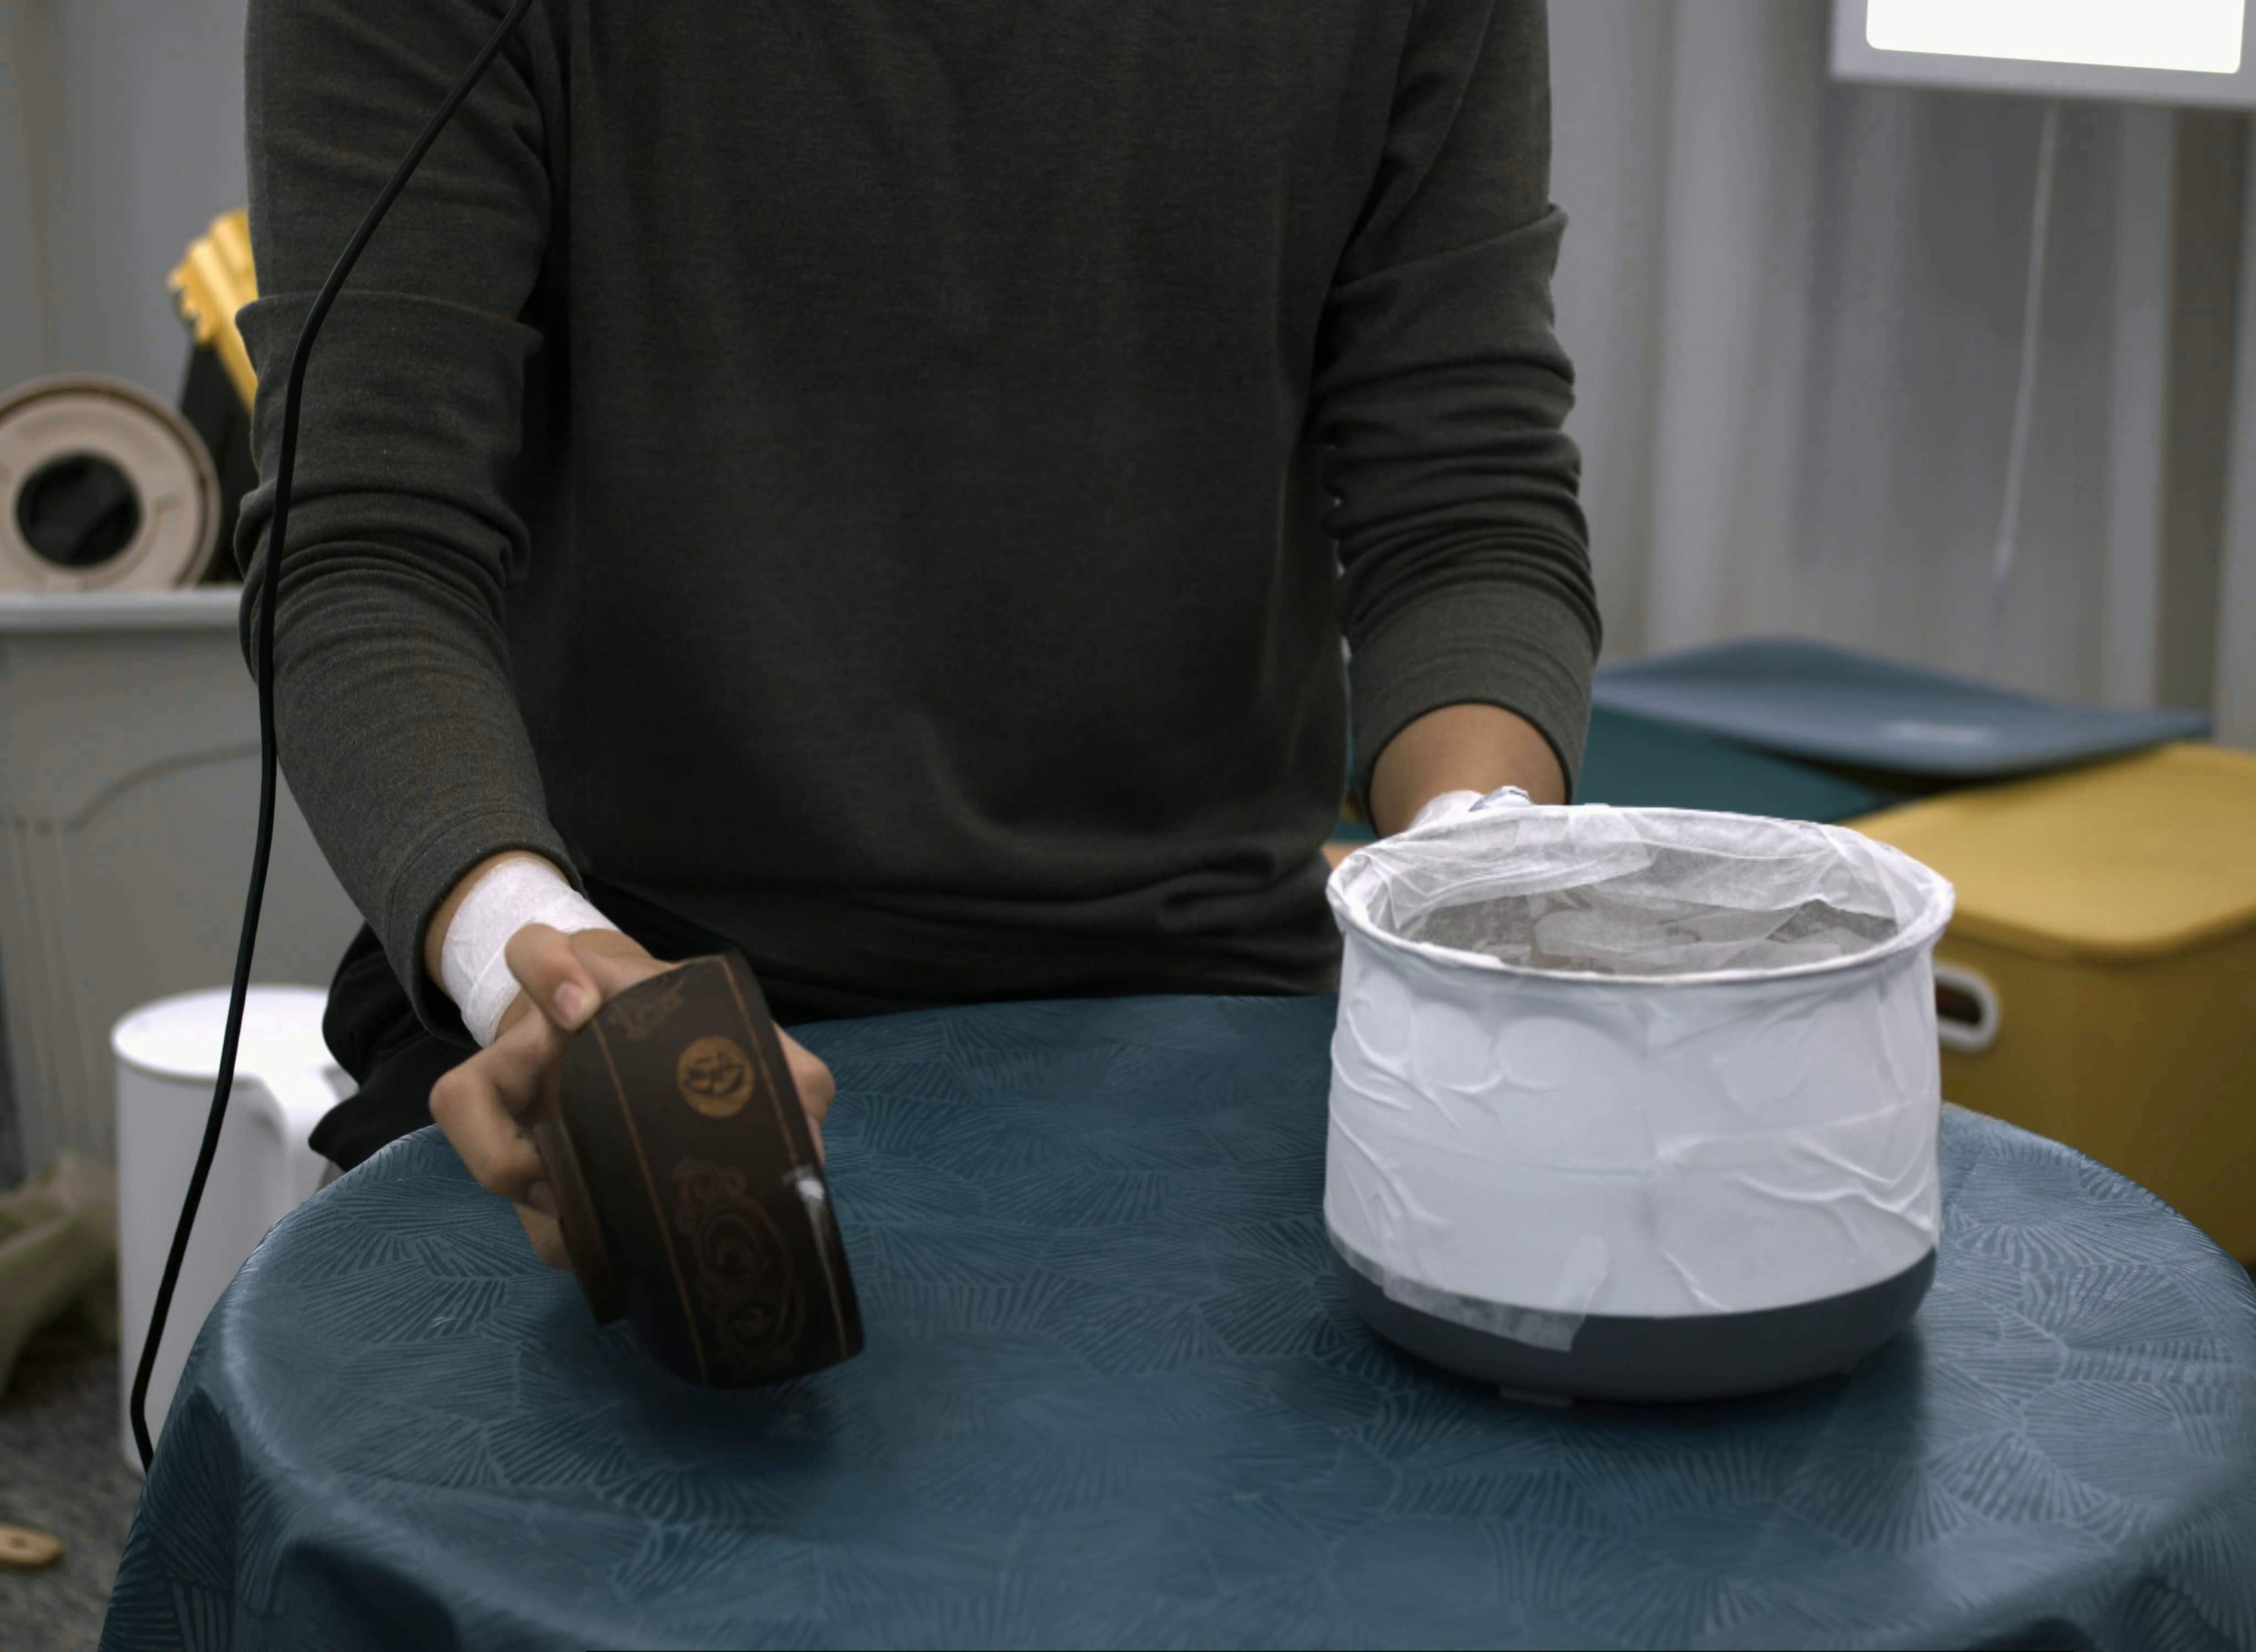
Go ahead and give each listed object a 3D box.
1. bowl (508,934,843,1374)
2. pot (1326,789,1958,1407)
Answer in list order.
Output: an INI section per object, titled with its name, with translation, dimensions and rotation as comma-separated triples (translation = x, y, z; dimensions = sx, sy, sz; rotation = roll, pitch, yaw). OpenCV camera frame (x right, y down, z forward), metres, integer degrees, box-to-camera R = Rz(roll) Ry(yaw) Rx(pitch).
[bowl]
translation = -0.128, 0.094, 1.436
dimensions = 0.070, 0.119, 0.117
rotation = -16, 20, -15
[pot]
translation = 0.135, 0.072, 1.521
dimensions = 0.179, 0.137, 0.231
rotation = -5, 15, -19
